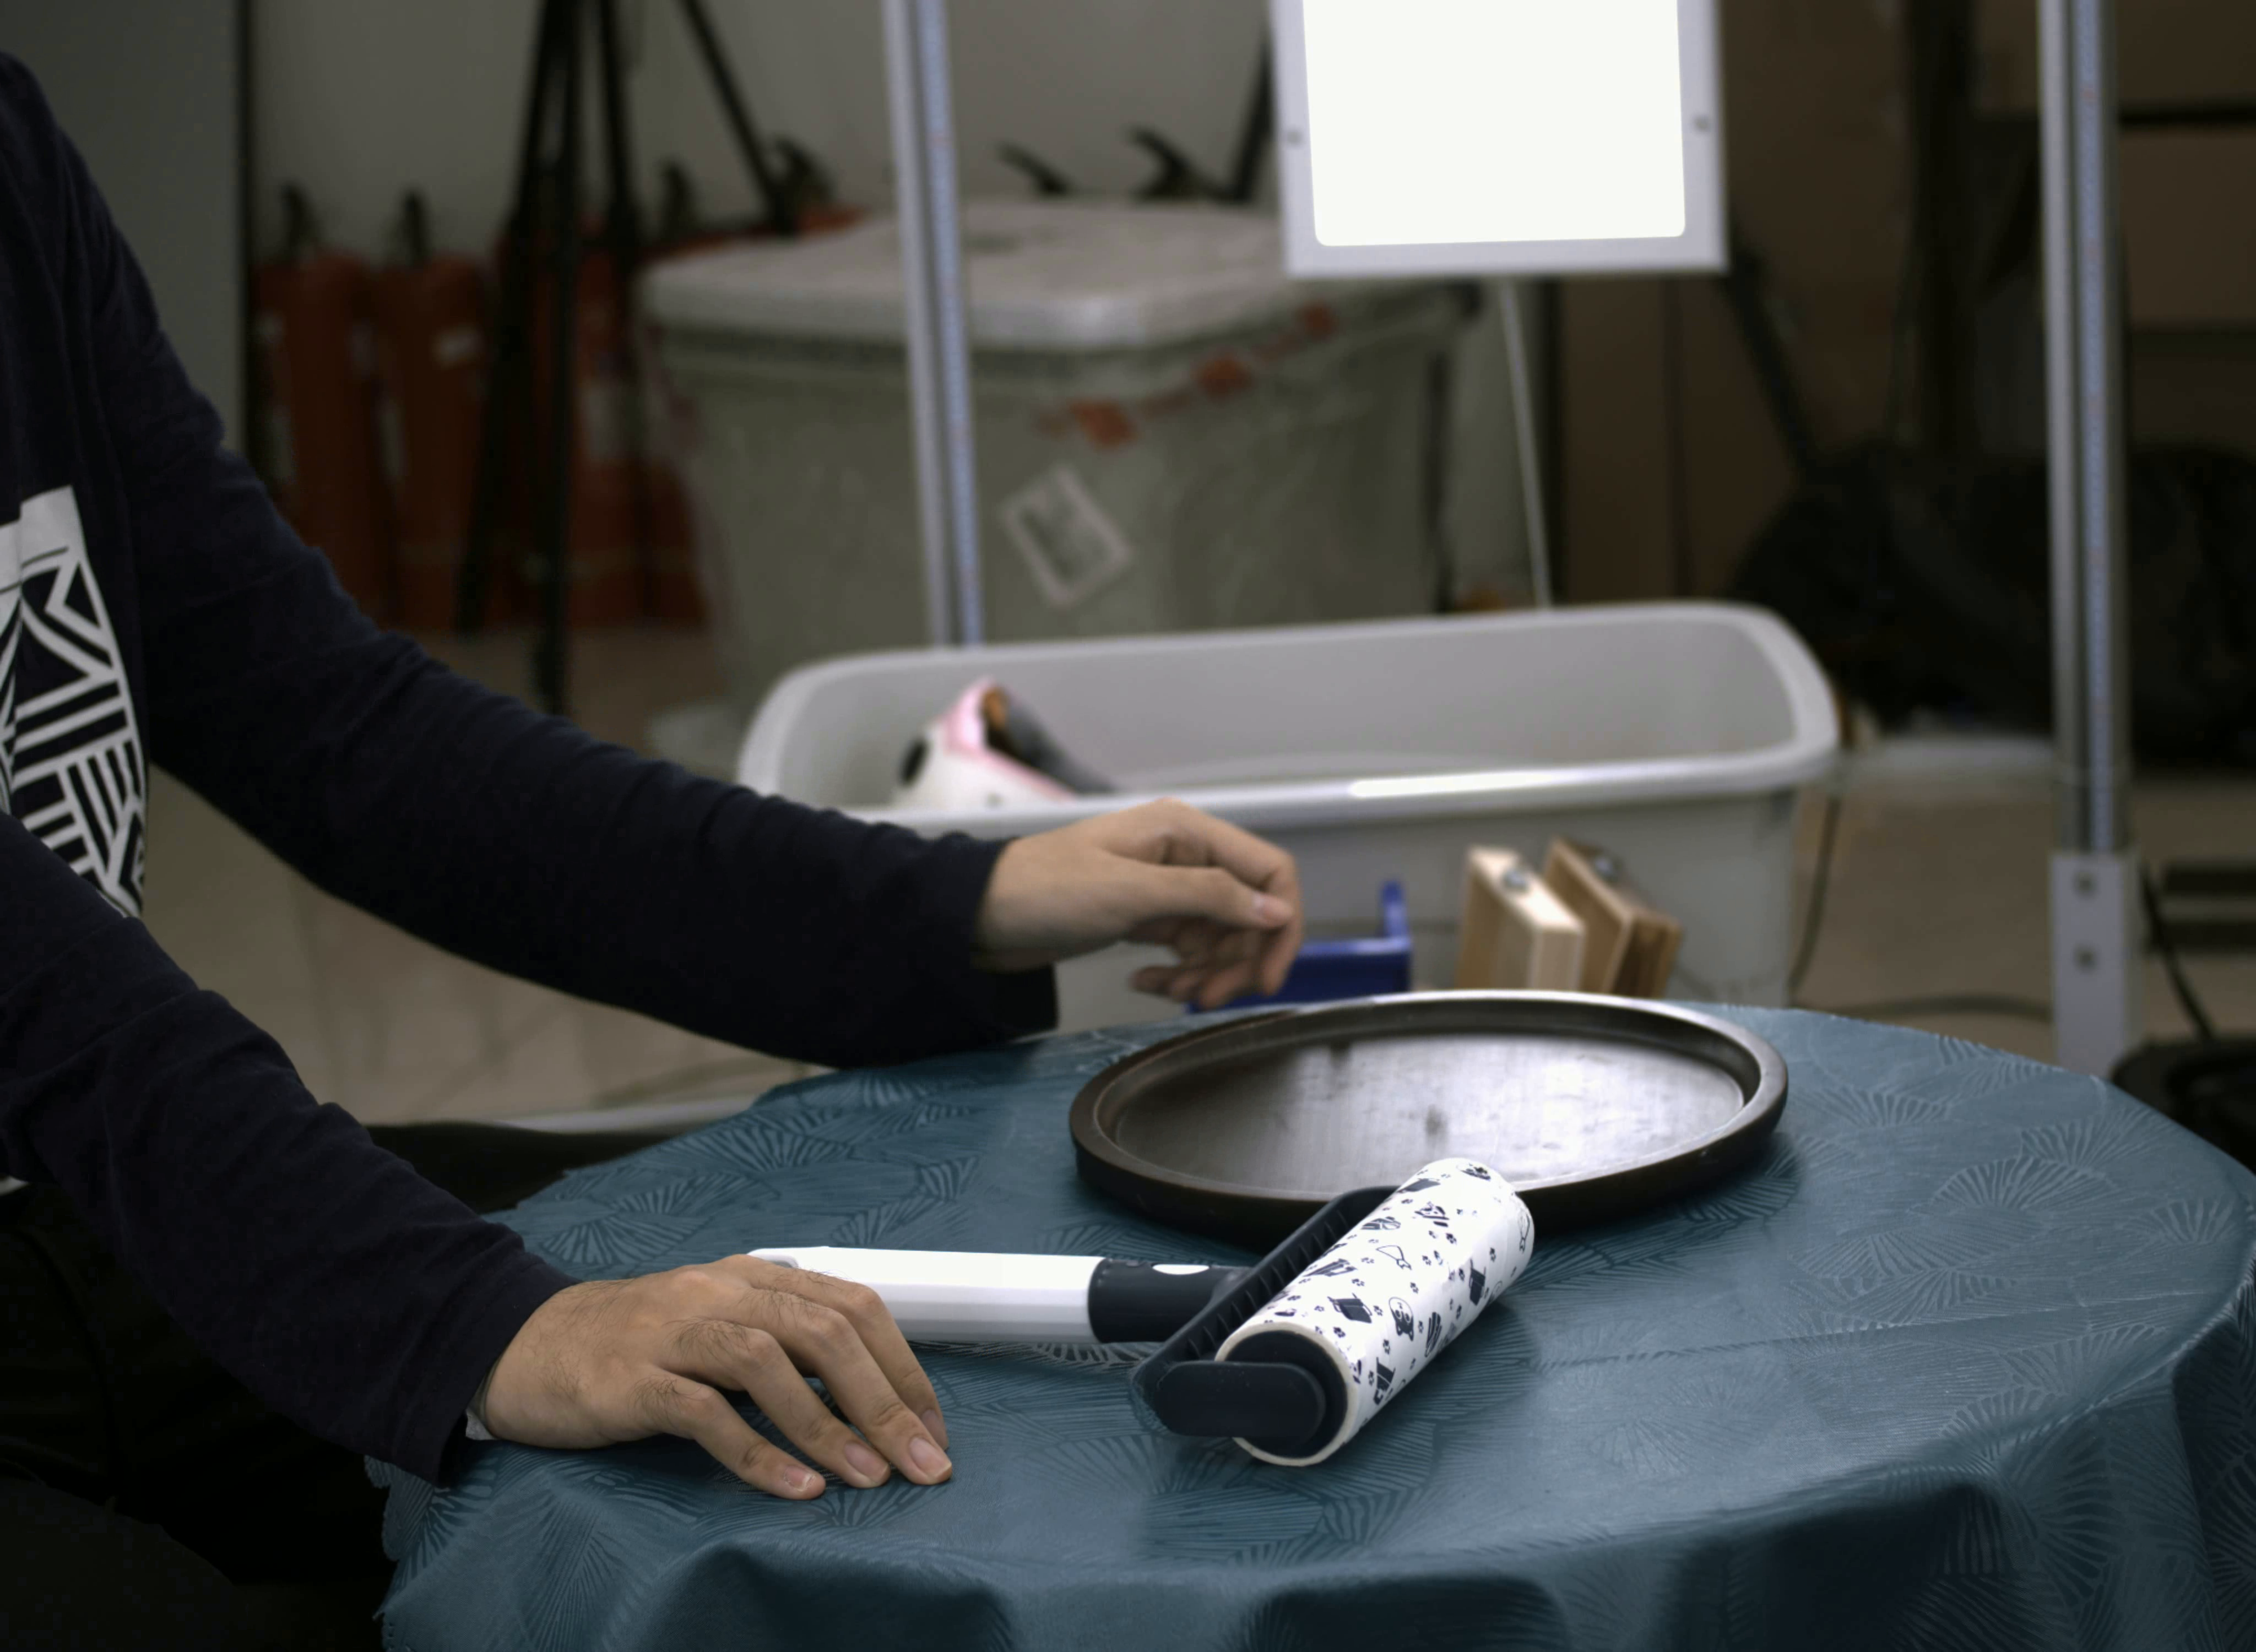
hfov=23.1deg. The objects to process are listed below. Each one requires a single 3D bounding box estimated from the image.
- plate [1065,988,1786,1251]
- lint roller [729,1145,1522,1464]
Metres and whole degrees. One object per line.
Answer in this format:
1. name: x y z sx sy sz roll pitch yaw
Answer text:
1. plate: 0.104 0.101 1.921 0.254 0.029 0.254 -7 13 0
2. lint roller: -0.017 0.148 1.734 0.251 0.050 0.173 -1 15 25
